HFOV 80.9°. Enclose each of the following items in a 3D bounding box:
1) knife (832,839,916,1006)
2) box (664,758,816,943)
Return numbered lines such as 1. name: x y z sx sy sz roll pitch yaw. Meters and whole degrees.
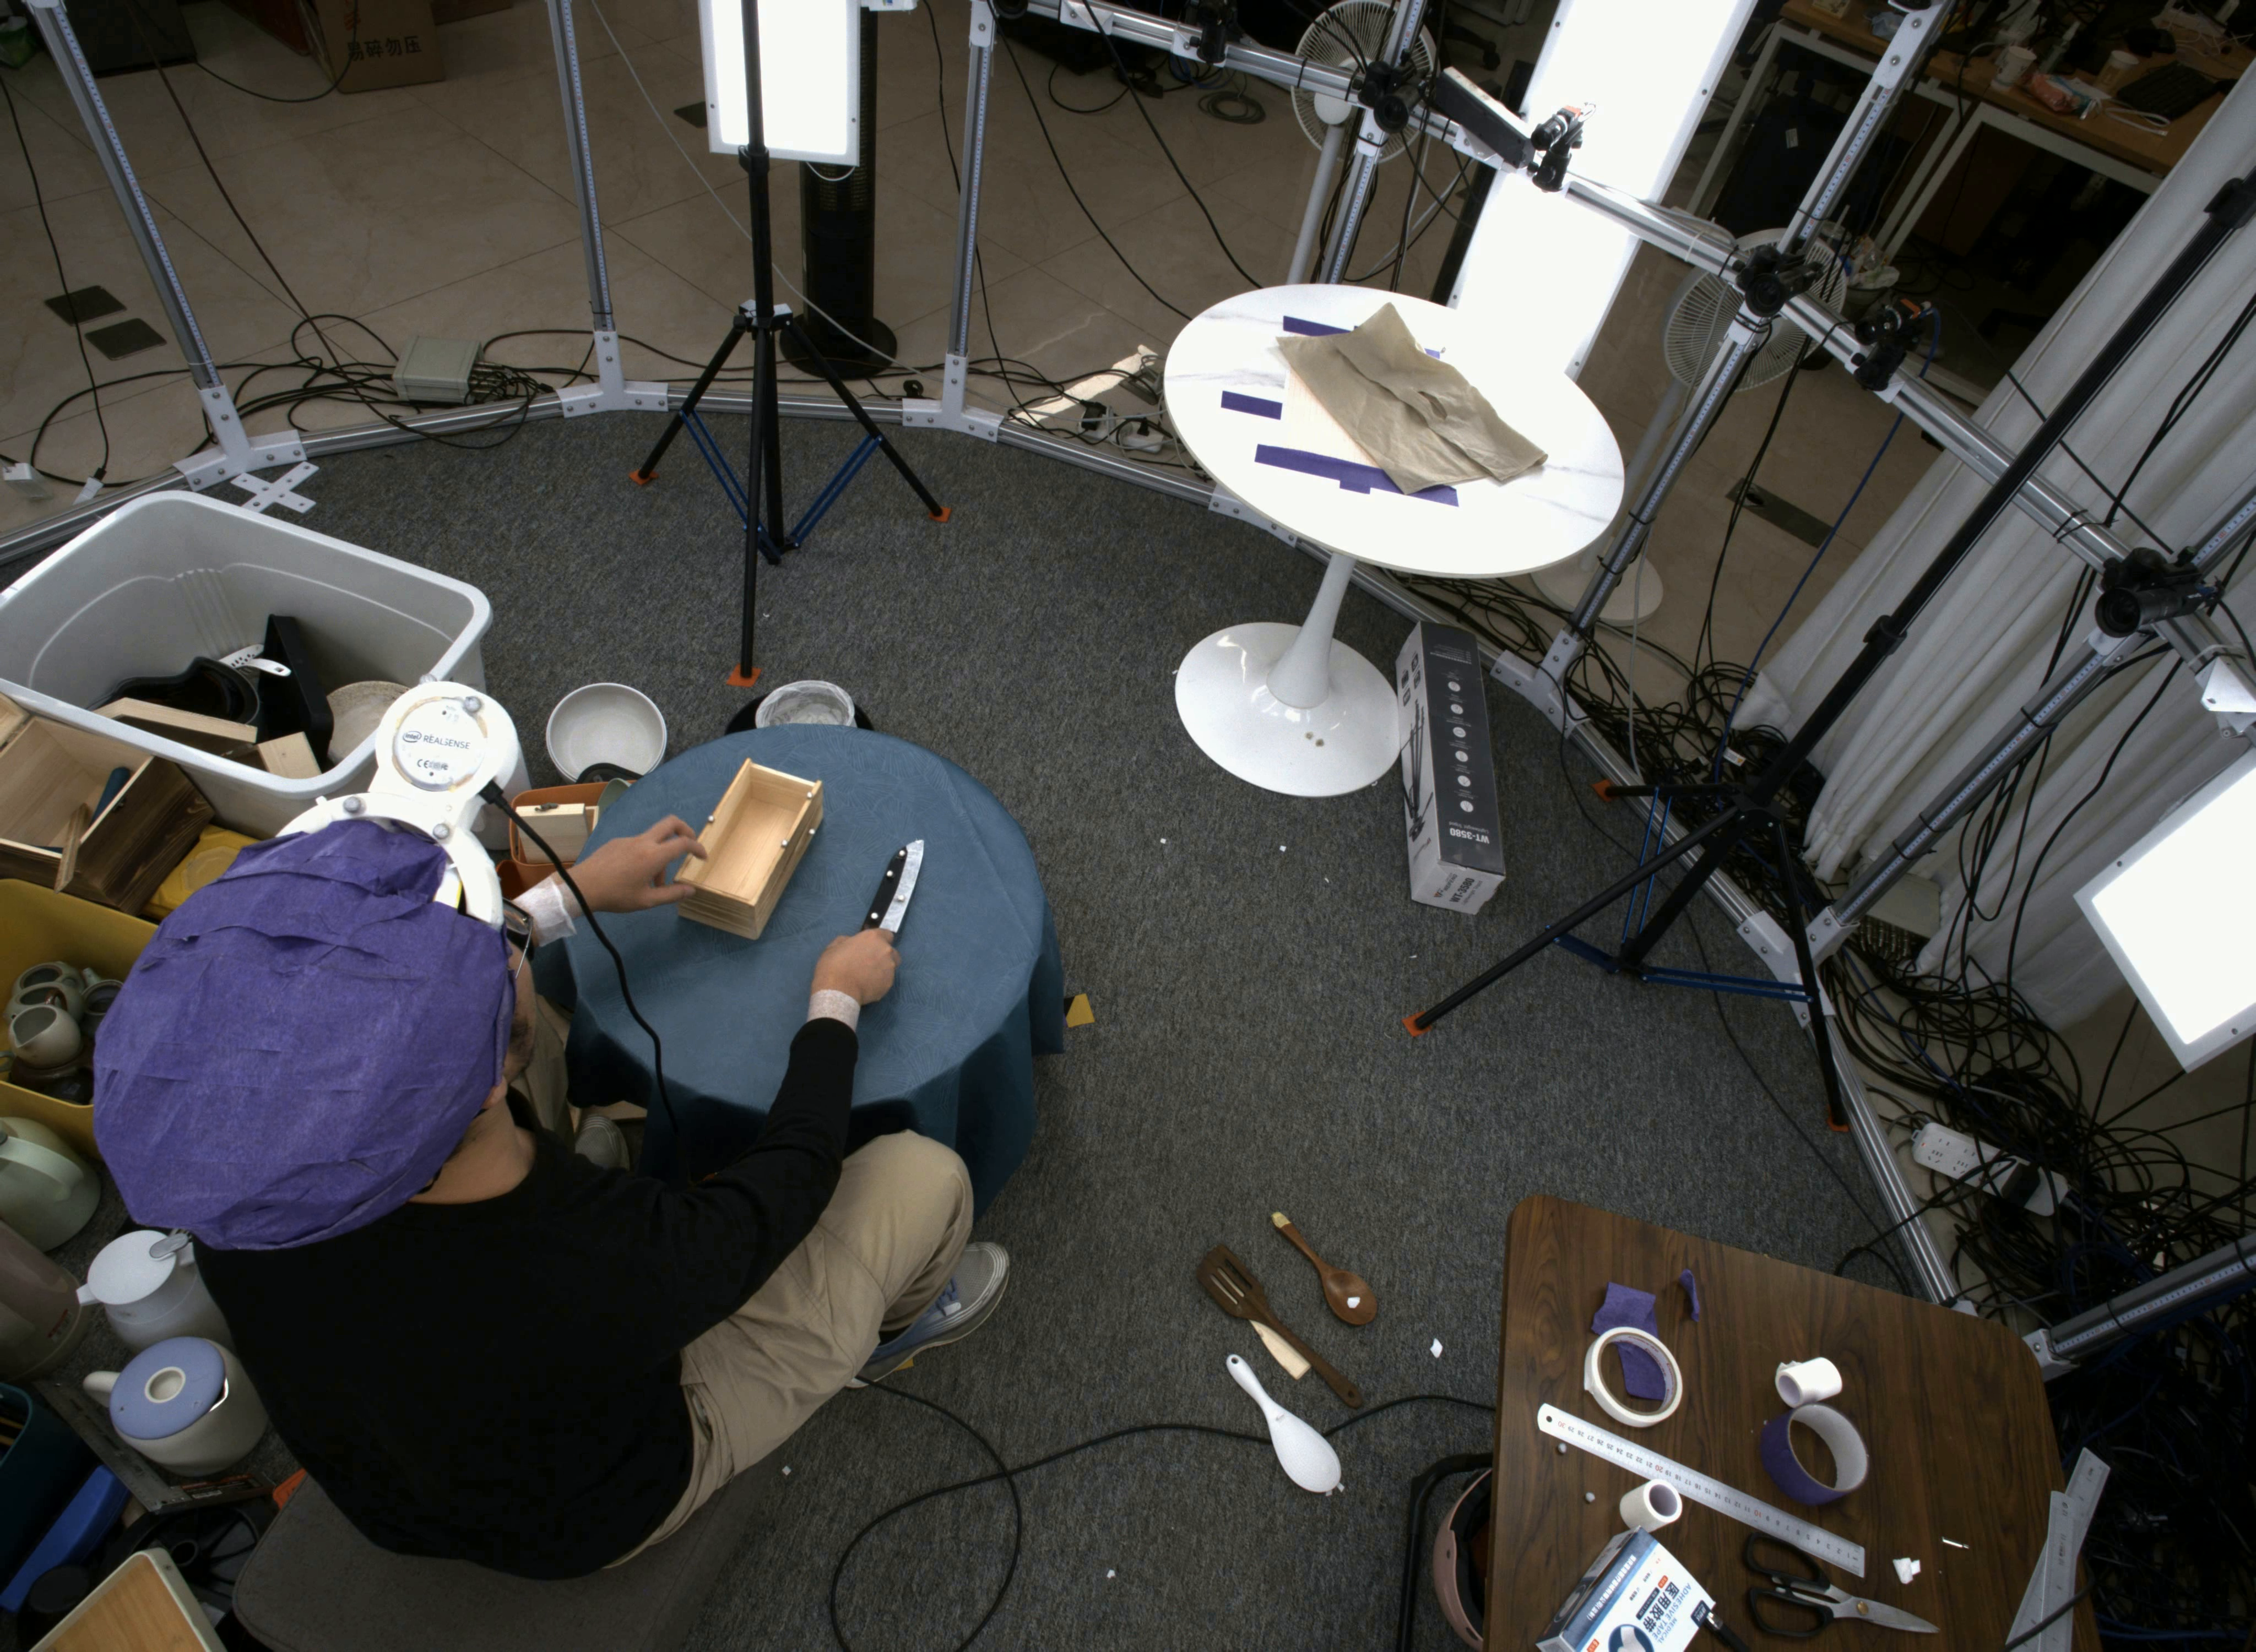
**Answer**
1. knife: -0.317 0.112 1.641 0.050 0.020 0.285 15 44 1
2. box: -0.485 0.027 1.631 0.106 0.082 0.209 17 51 0
